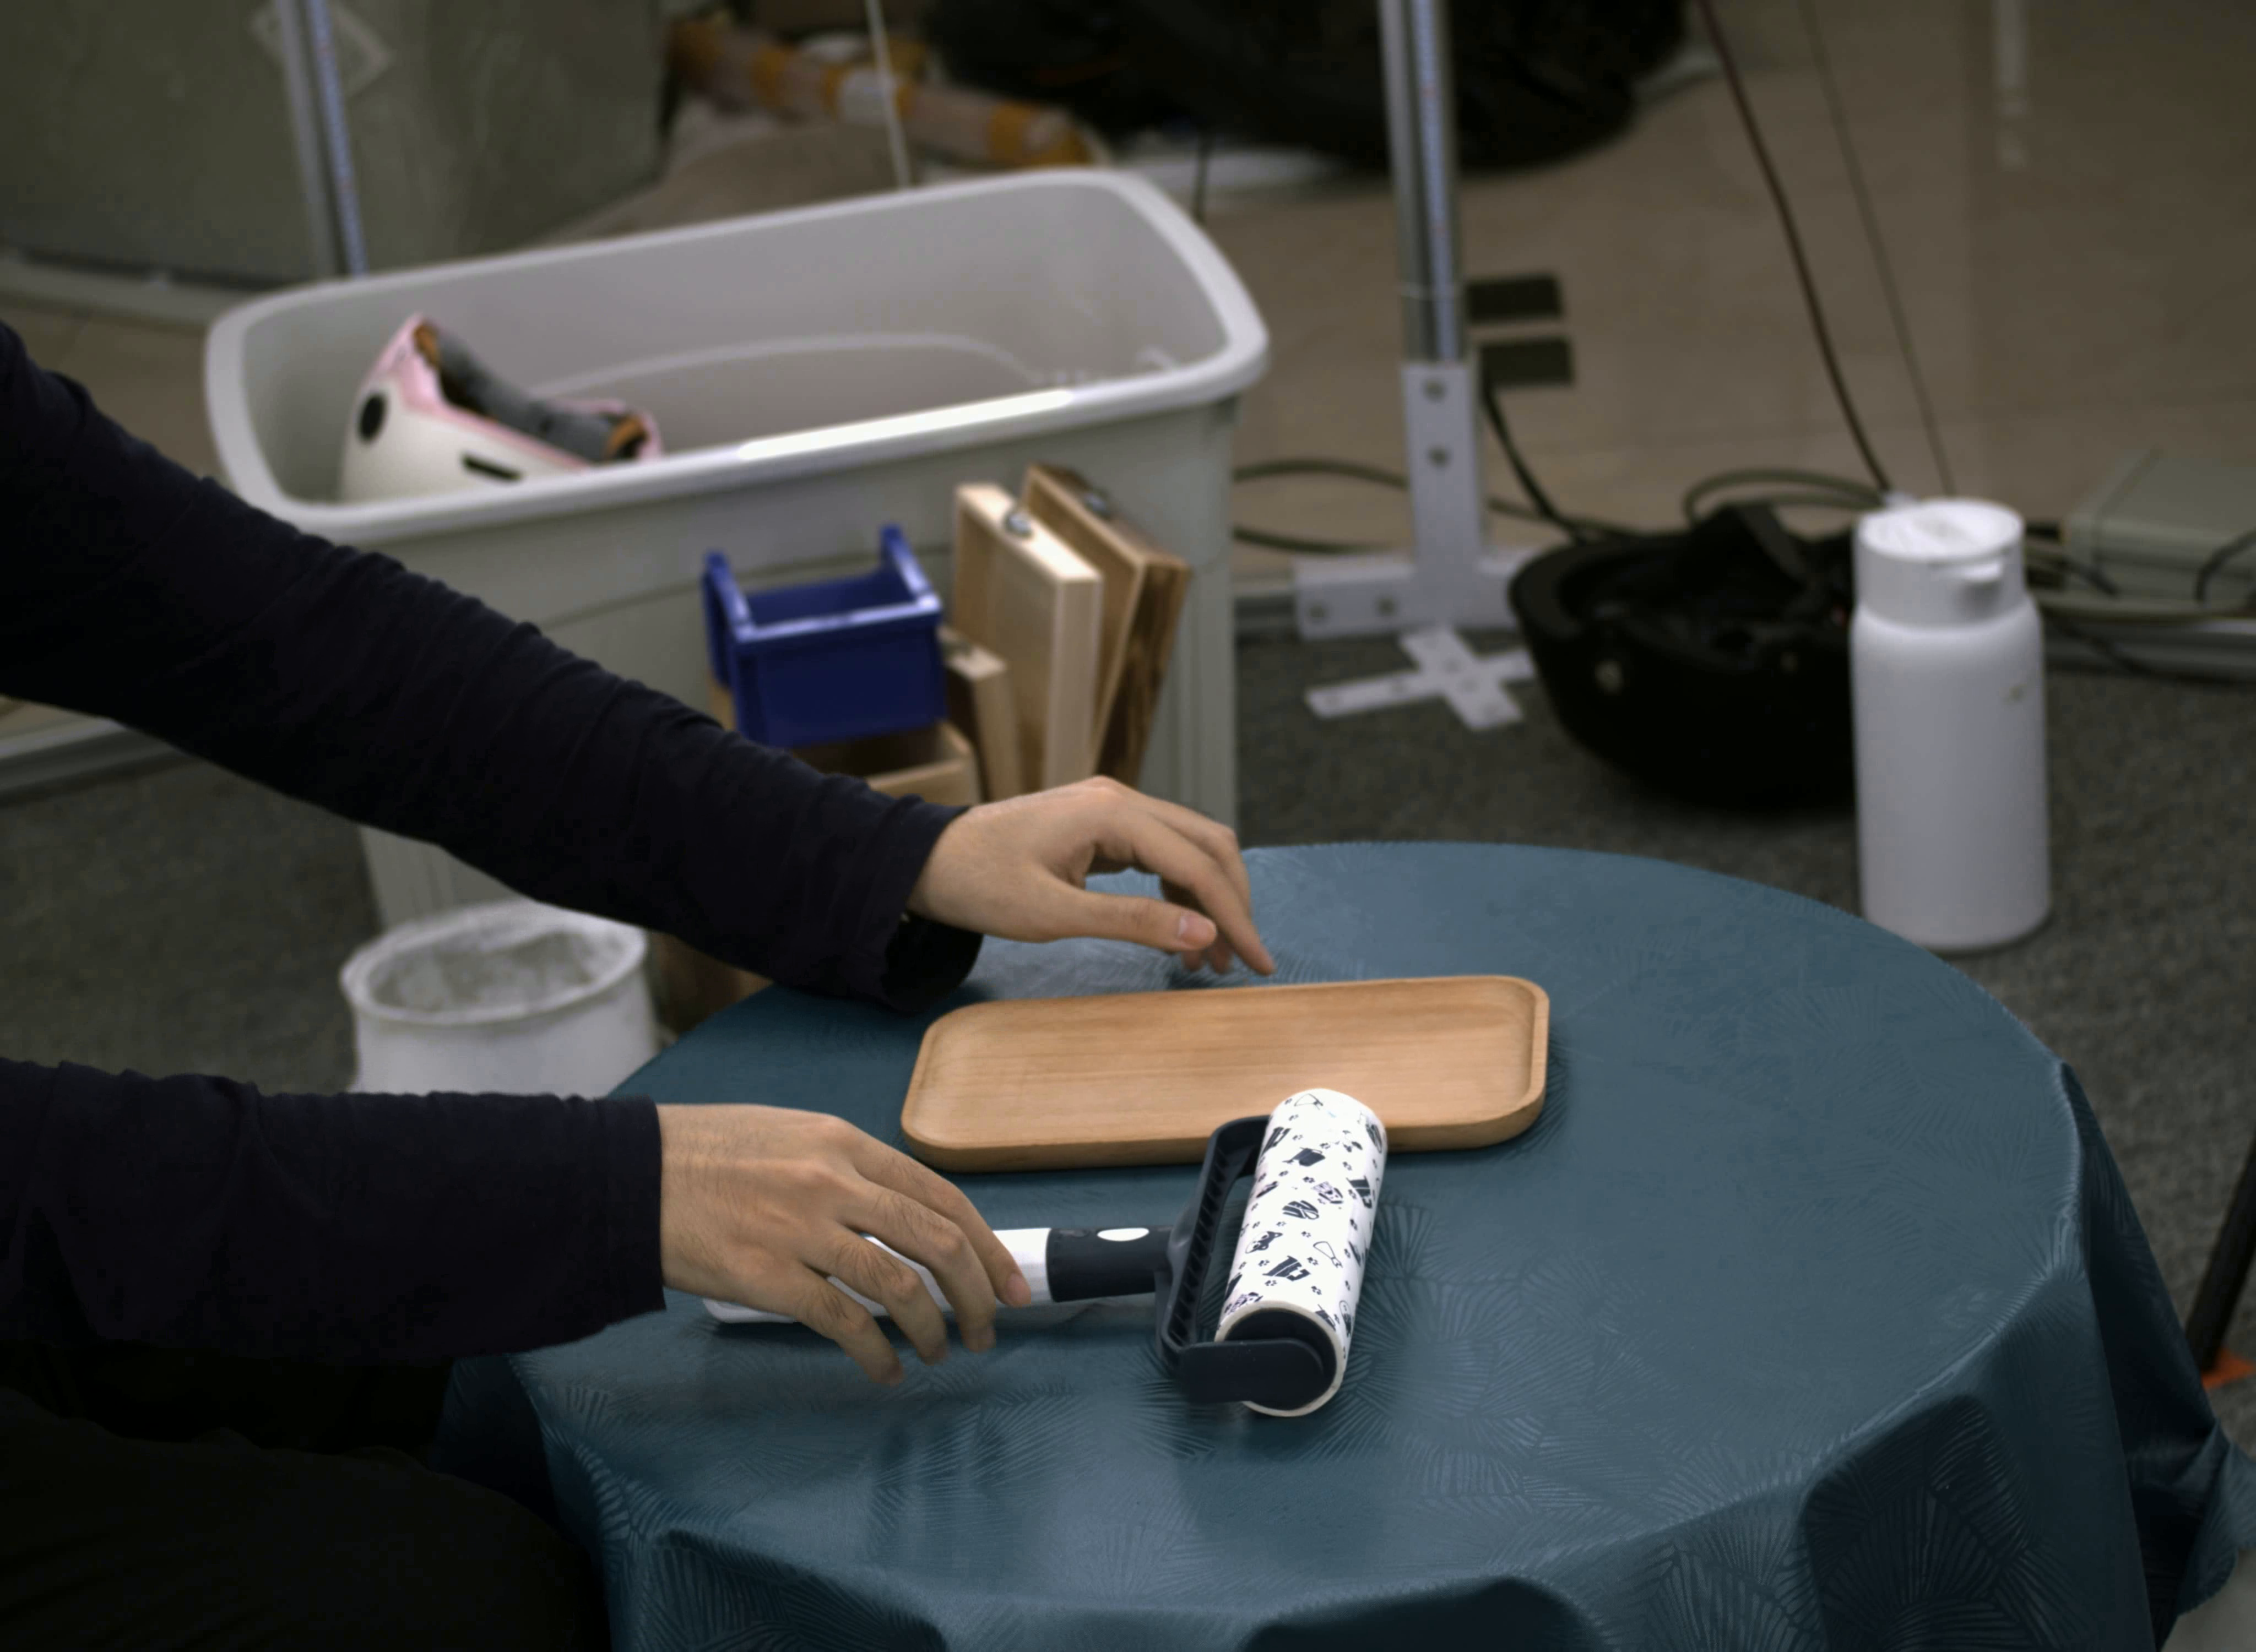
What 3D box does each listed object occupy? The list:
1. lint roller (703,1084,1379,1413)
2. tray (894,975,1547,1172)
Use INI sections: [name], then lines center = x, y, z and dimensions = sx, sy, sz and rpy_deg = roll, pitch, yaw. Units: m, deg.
[lint roller]
center = -0.037, 0.161, 2.066
dimensions = 0.247, 0.051, 0.173
rpy_deg = -5, 25, 10
[tray]
center = 0.037, 0.097, 2.214
dimensions = 0.250, 0.023, 0.129
rpy_deg = -3, 22, 9
